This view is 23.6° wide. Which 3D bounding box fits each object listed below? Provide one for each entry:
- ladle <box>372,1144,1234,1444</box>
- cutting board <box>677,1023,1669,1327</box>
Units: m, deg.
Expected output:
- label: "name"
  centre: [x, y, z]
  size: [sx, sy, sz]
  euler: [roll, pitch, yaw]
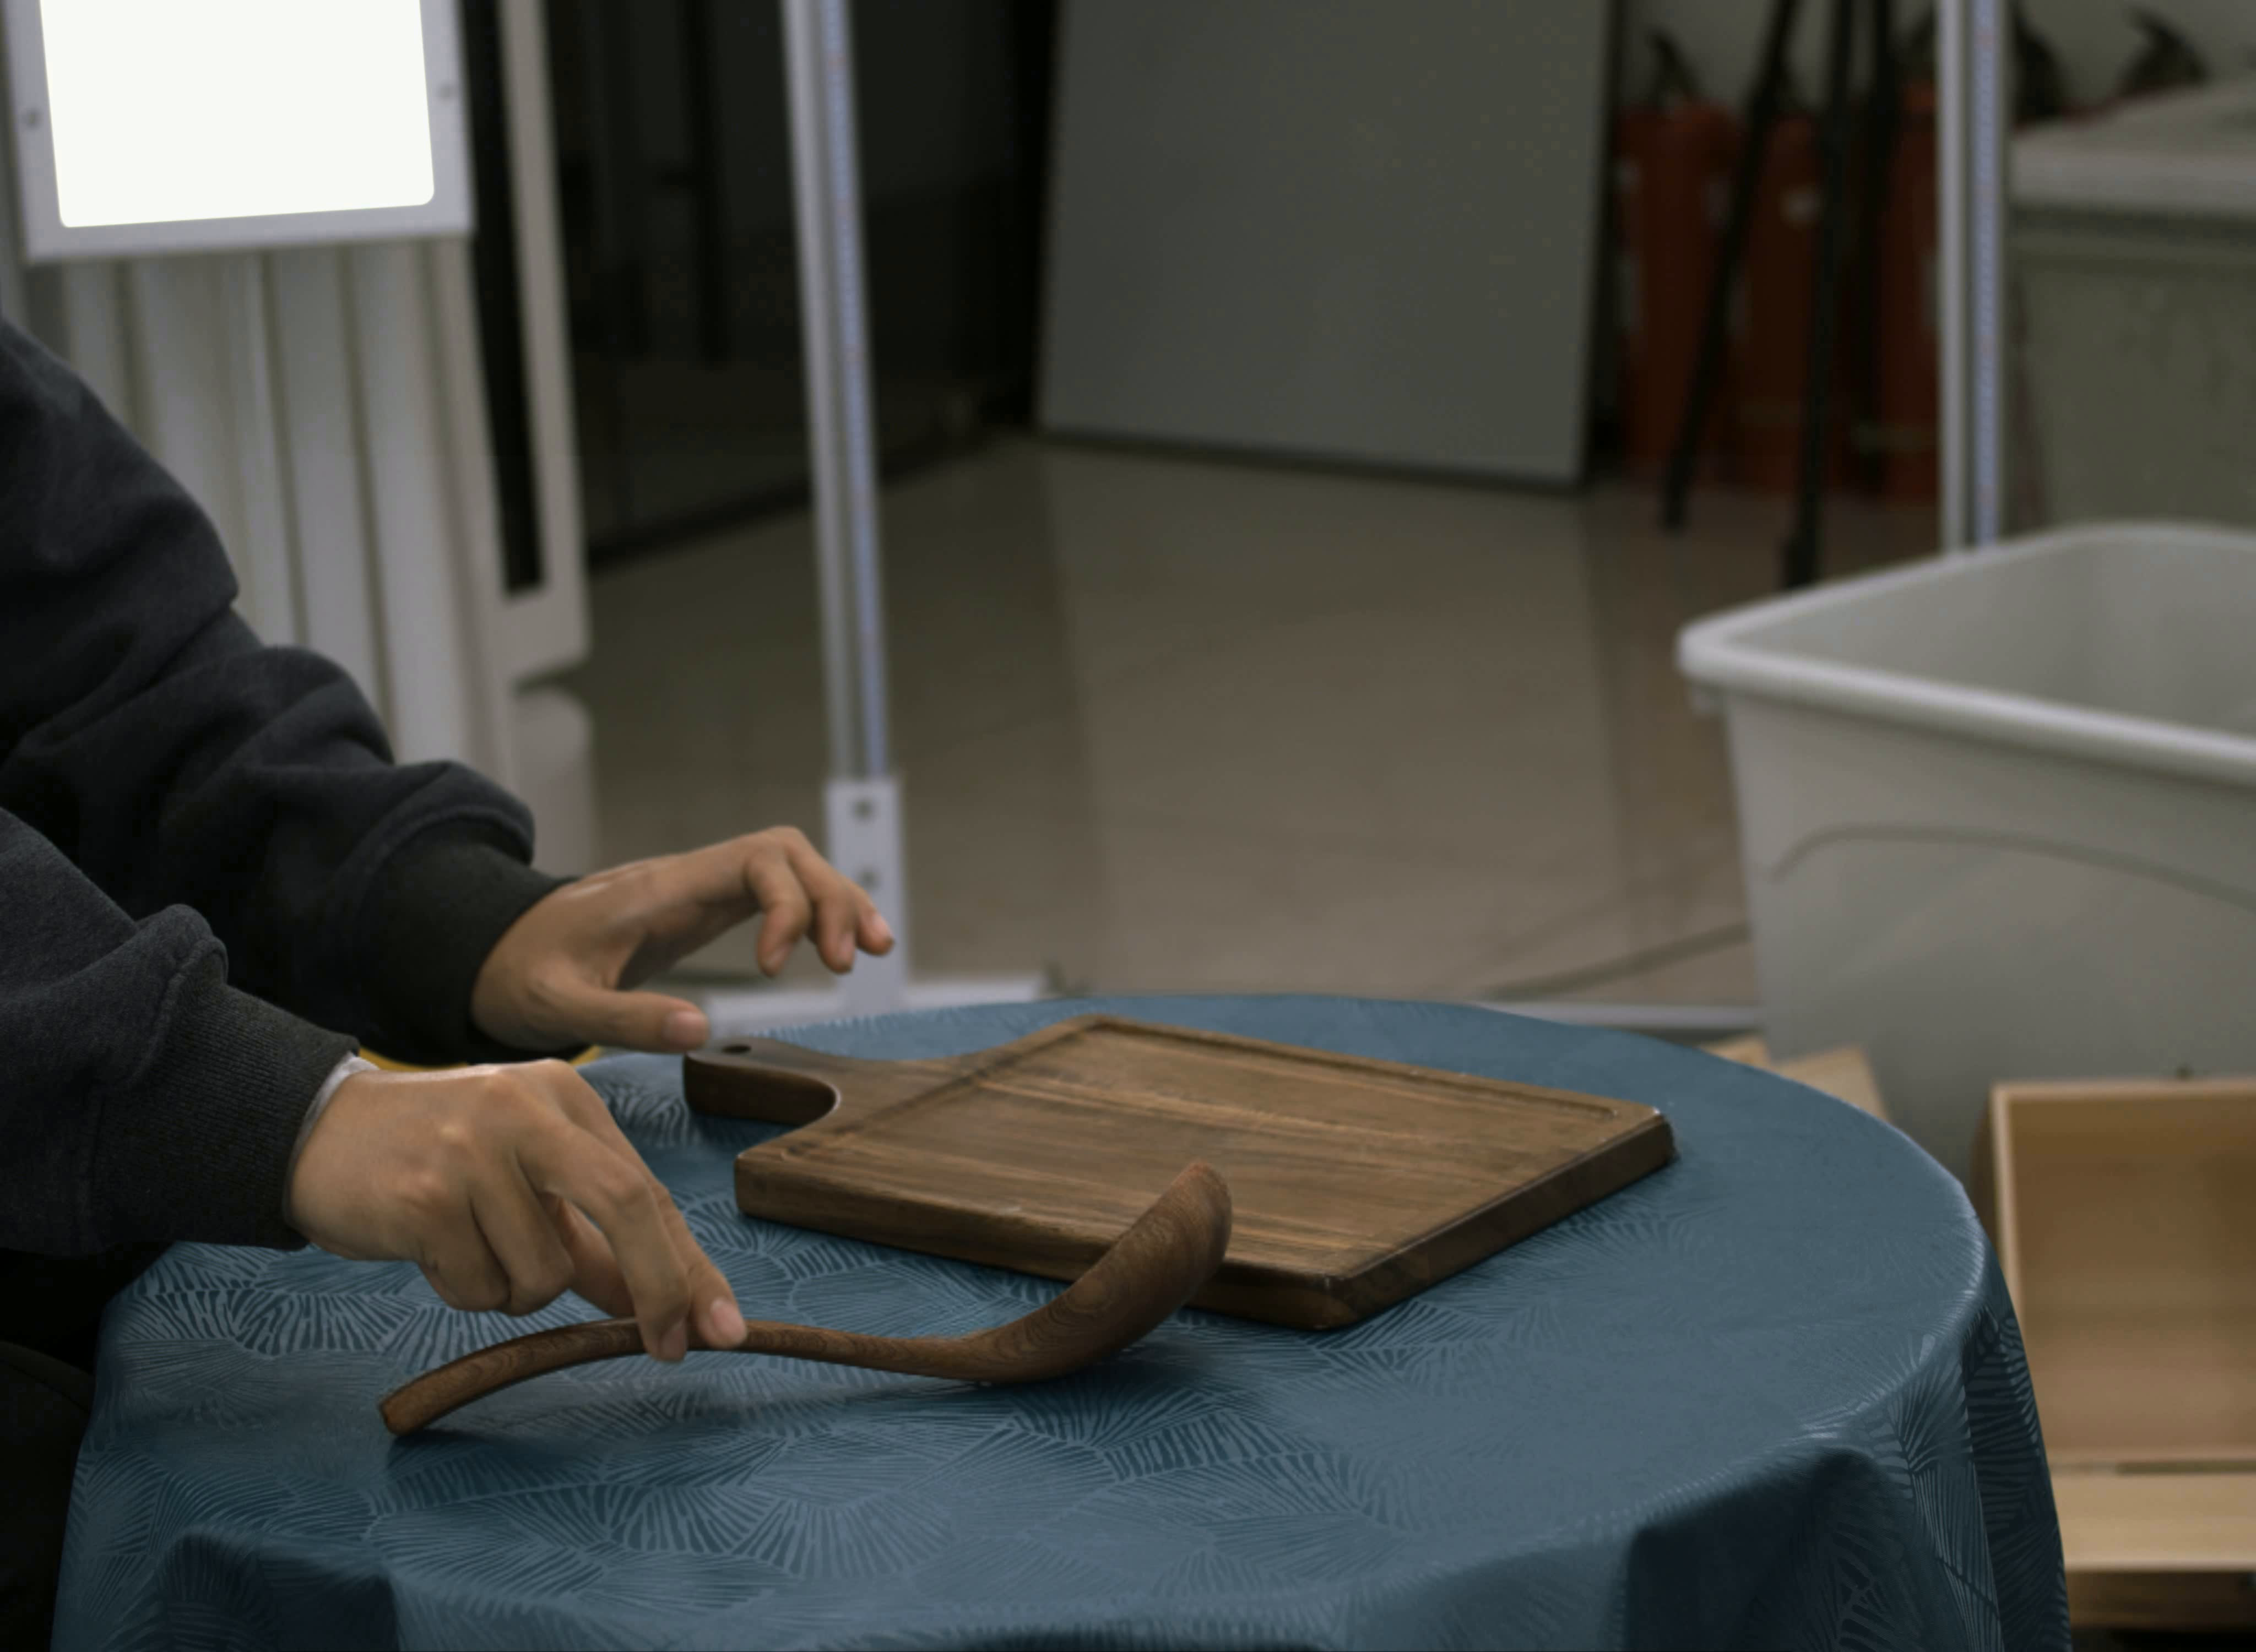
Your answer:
- label: "ladle"
  centre: [-0.095, 0.138, 1.593]
  size: [0.256, 0.066, 0.076]
  euler: [-5, -15, -1]
- label: "cutting board"
  centre: [-0.014, 0.105, 1.793]
  size: [0.355, 0.023, 0.197]
  euler: [7, 16, 38]
